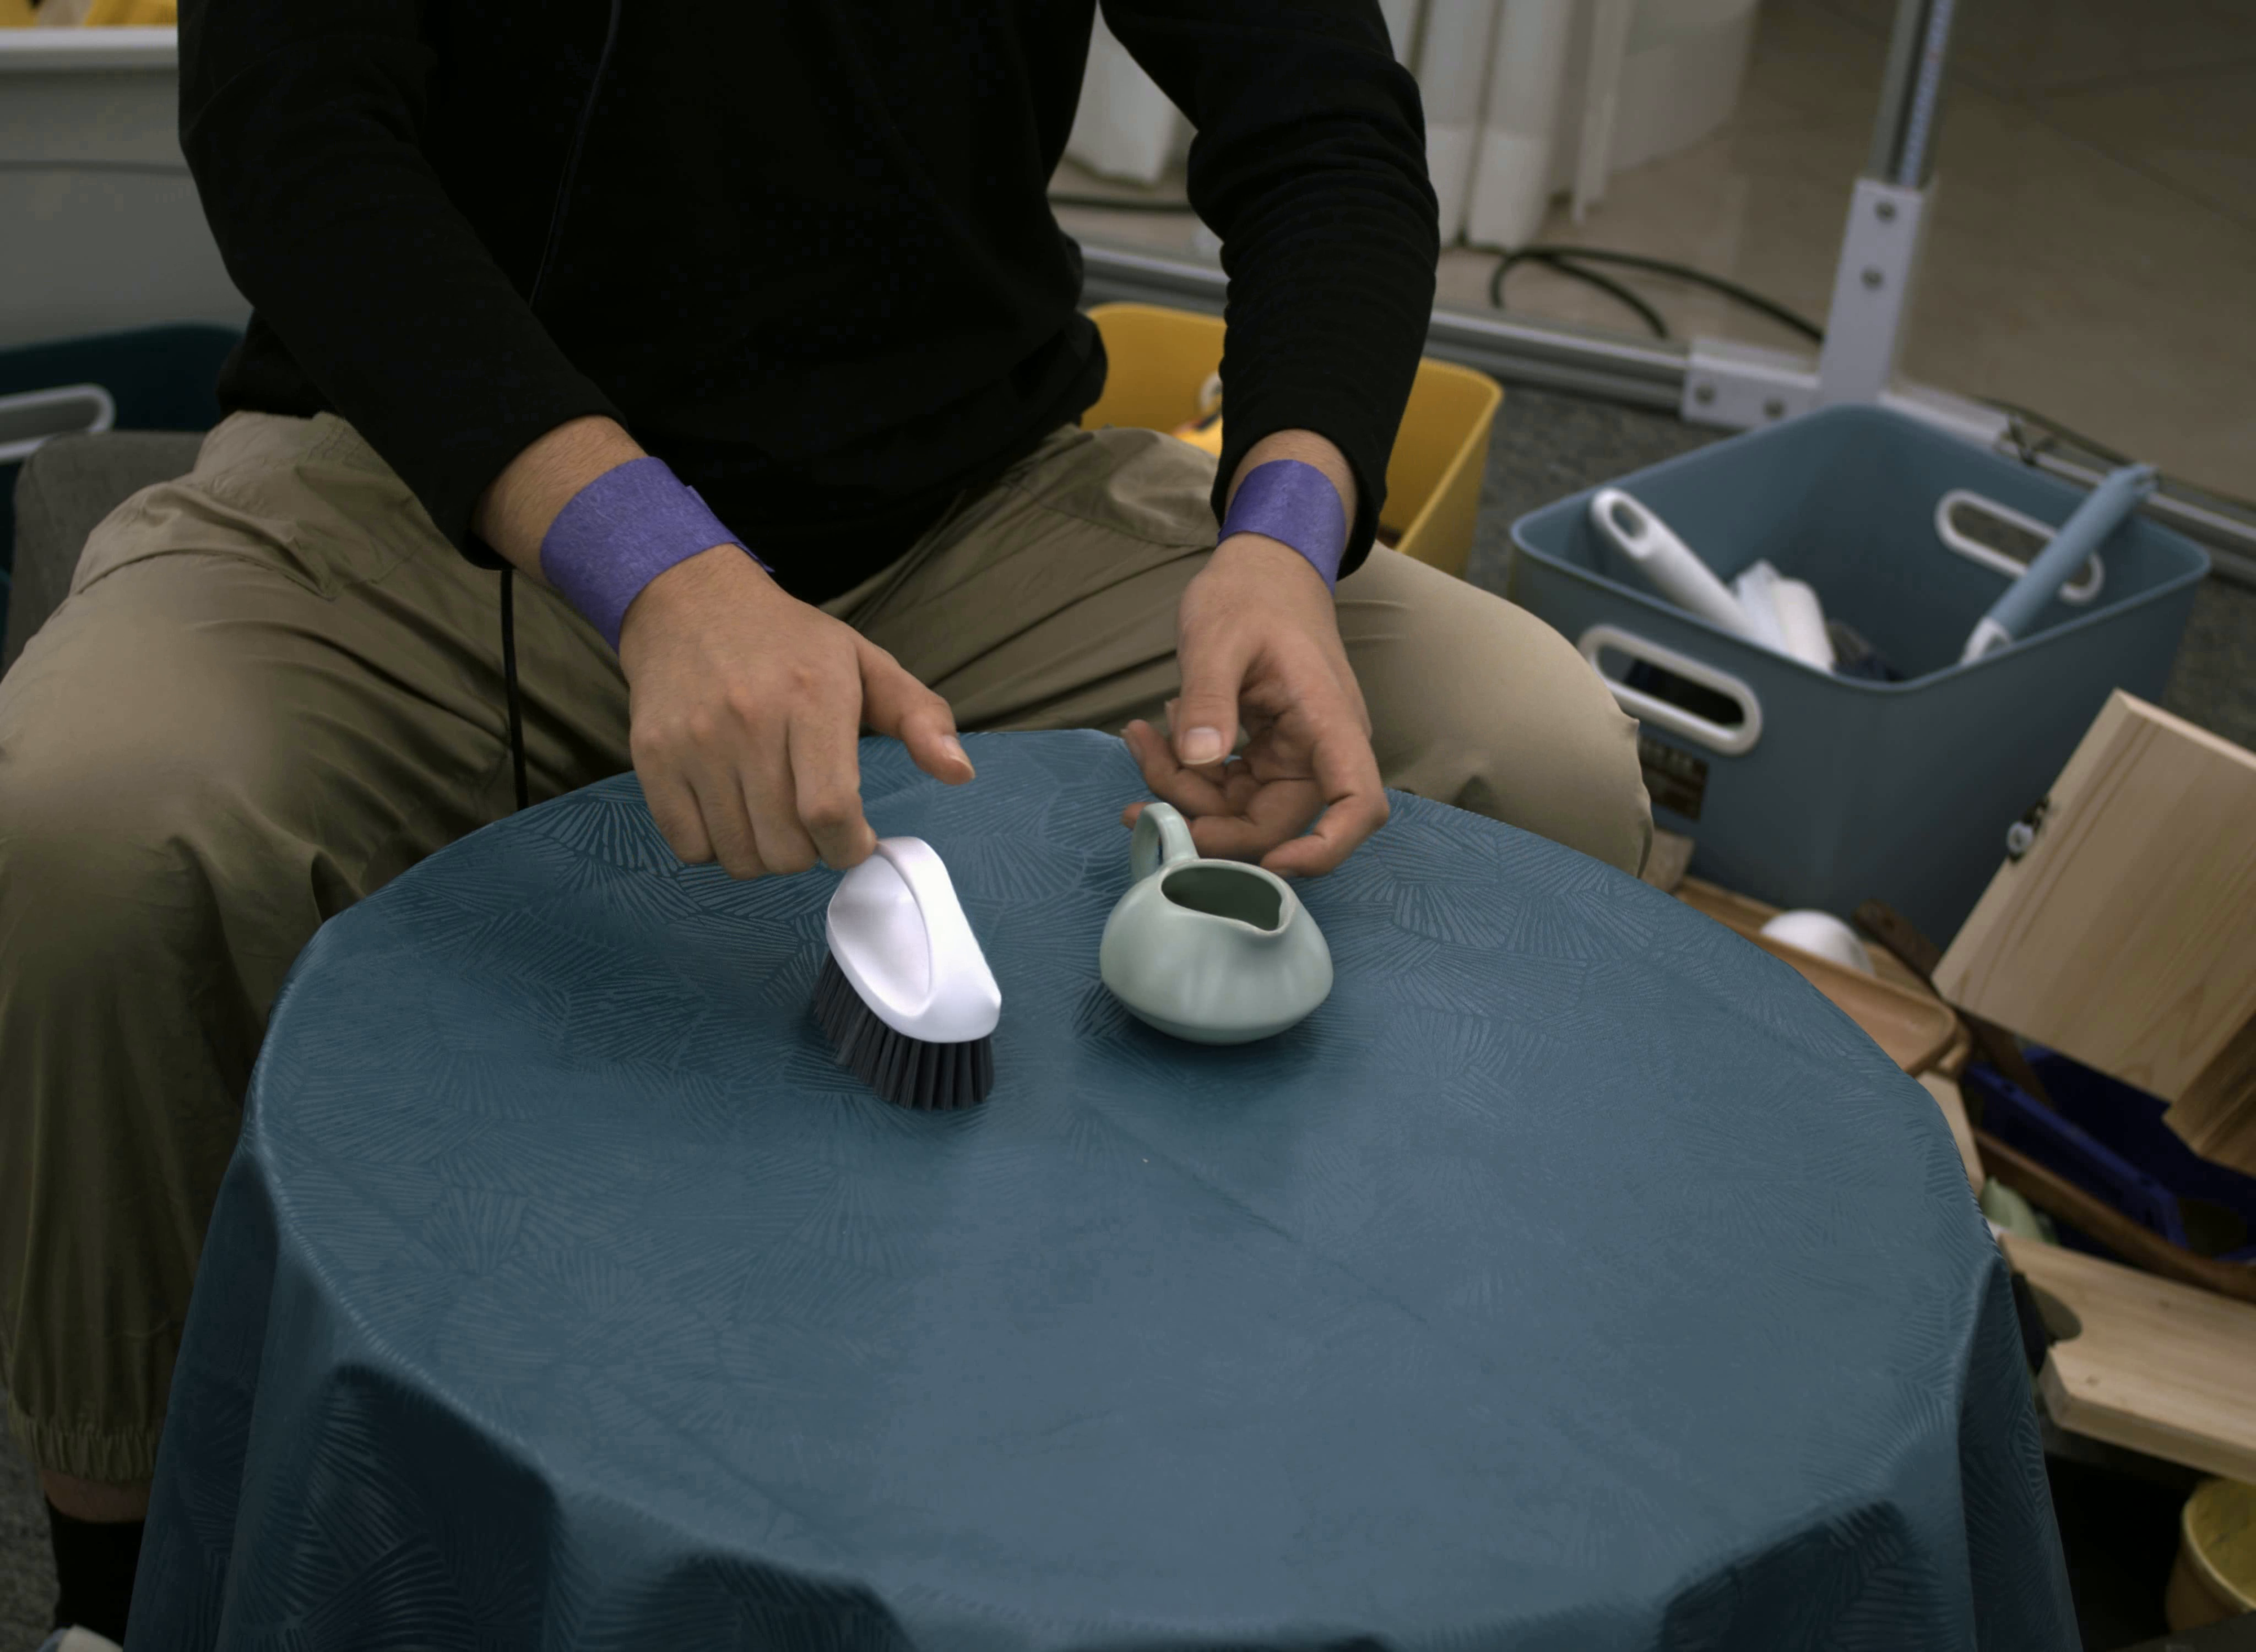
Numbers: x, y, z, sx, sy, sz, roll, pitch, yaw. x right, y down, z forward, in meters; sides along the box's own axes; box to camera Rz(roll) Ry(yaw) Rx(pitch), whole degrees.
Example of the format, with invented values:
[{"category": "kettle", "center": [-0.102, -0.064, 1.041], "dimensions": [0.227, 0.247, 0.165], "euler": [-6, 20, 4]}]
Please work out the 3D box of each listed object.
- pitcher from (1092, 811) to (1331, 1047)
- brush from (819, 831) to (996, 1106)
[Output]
[{"category": "pitcher", "center": [0.025, 0.038, 1.914], "dimensions": [0.085, 0.060, 0.109], "euler": [-7, 27, -27]}, {"category": "brush", "center": [-0.076, 0.043, 1.860], "dimensions": [0.050, 0.072, 0.100], "euler": [-2, 29, -19]}]
